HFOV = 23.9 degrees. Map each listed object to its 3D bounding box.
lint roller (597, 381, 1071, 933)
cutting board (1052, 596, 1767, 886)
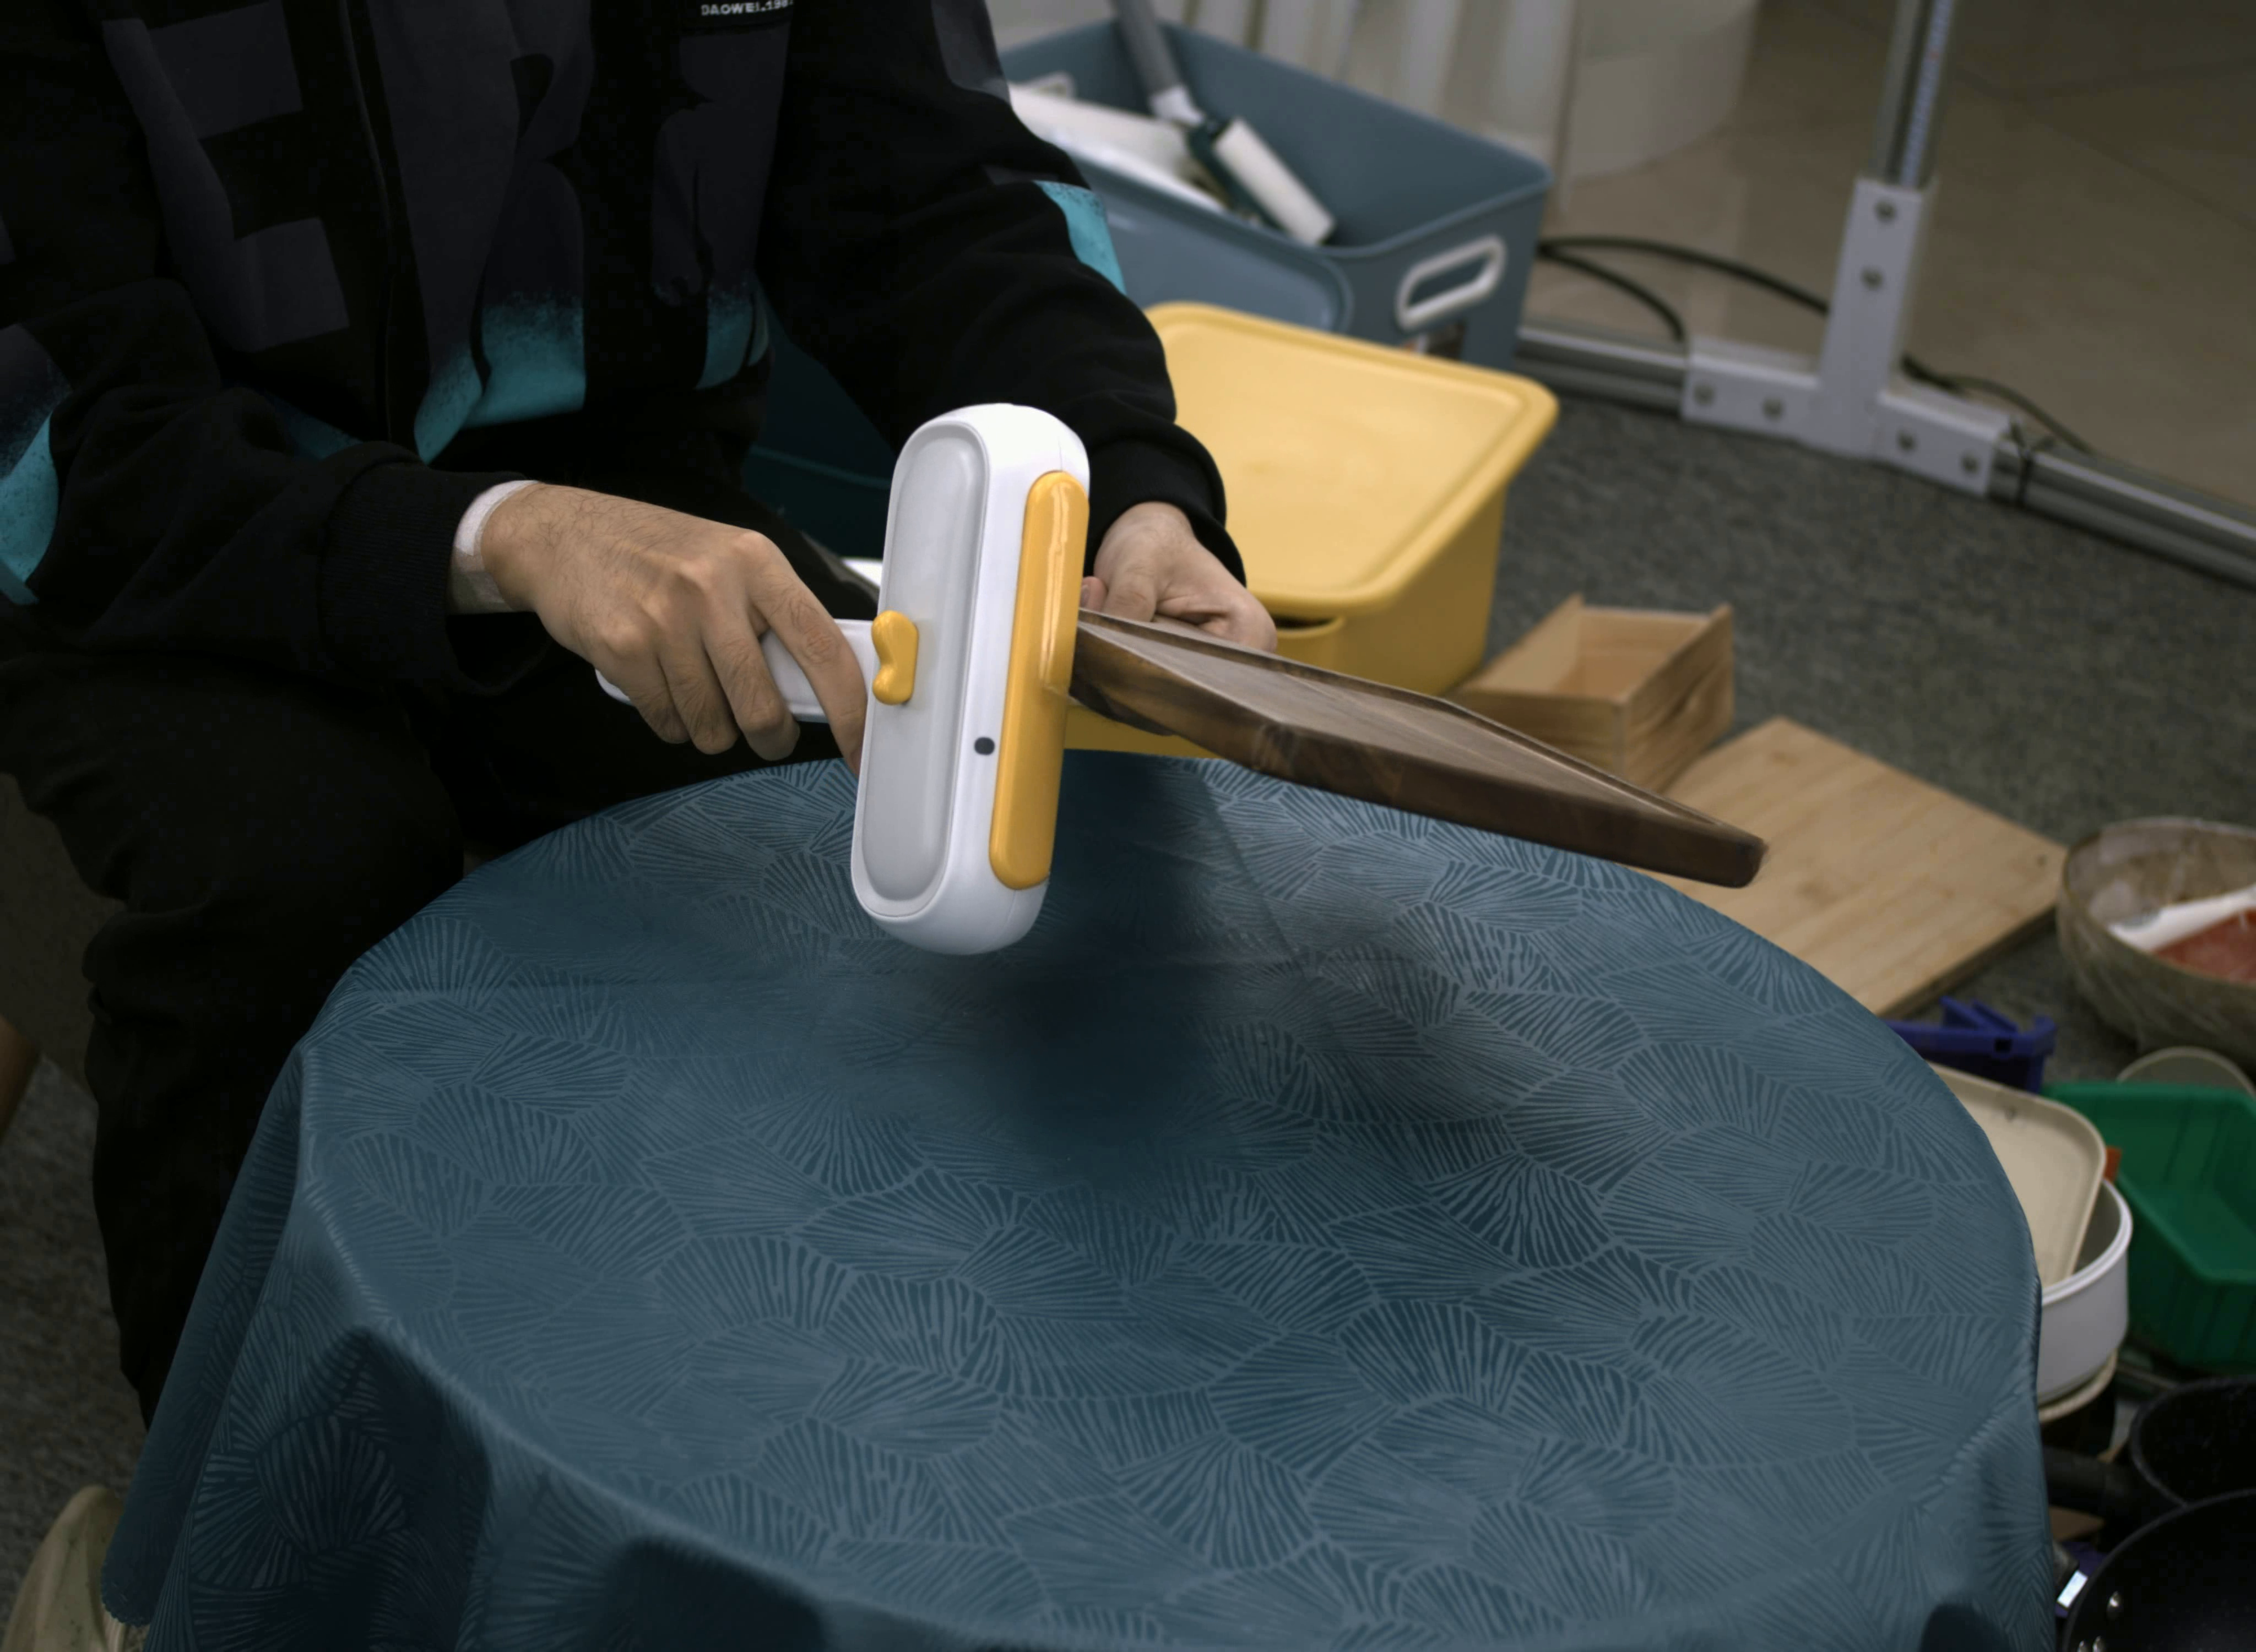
[{"bbox_3d":[-0.104,-0.057,1.889,0.193,0.193,0.073,-4,-6,41],"label":"lint roller"},{"bbox_3d":[0.061,-0.042,1.901,0.199,0.023,0.354,13,6,-26],"label":"cutting board"}]
